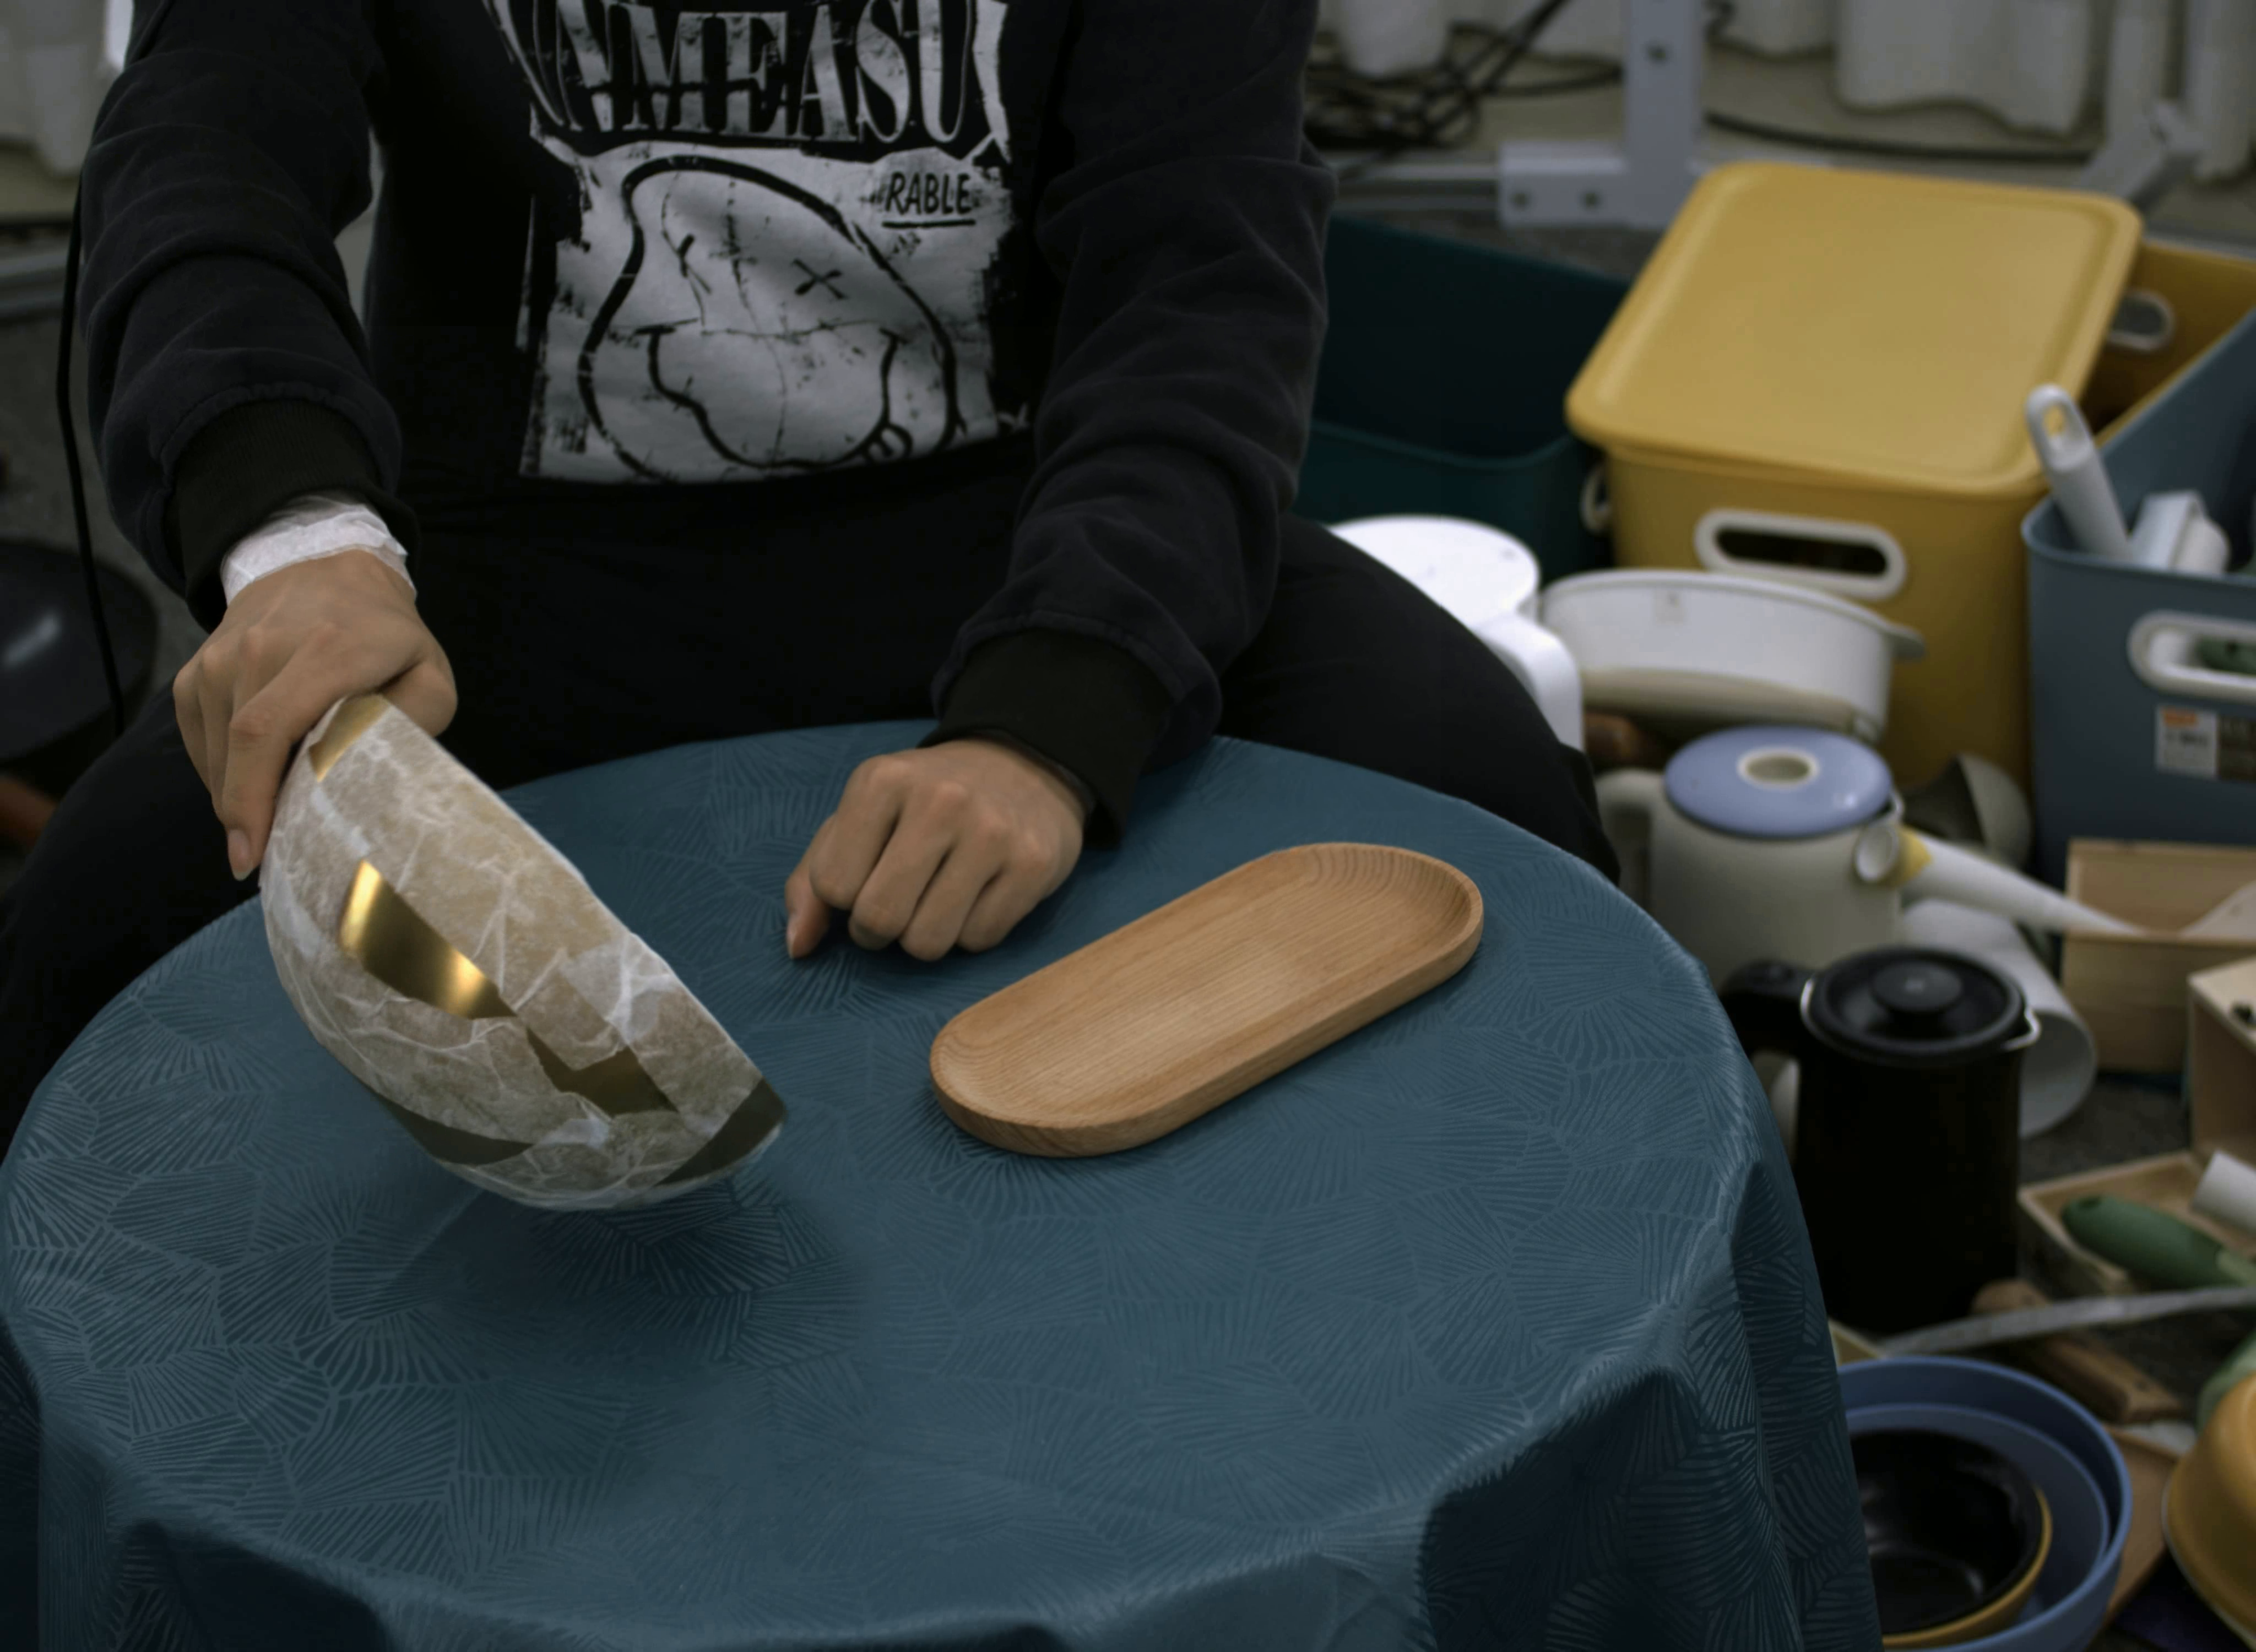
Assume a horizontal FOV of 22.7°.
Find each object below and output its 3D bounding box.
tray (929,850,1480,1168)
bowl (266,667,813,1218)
[{"bbox_3d":[0.029,0.062,1.957,0.101,0.020,0.234,20,37,41],"label":"tray"},{"bbox_3d":[-0.207,0.058,1.805,0.095,0.212,0.215,-45,40,-10],"label":"bowl"}]
